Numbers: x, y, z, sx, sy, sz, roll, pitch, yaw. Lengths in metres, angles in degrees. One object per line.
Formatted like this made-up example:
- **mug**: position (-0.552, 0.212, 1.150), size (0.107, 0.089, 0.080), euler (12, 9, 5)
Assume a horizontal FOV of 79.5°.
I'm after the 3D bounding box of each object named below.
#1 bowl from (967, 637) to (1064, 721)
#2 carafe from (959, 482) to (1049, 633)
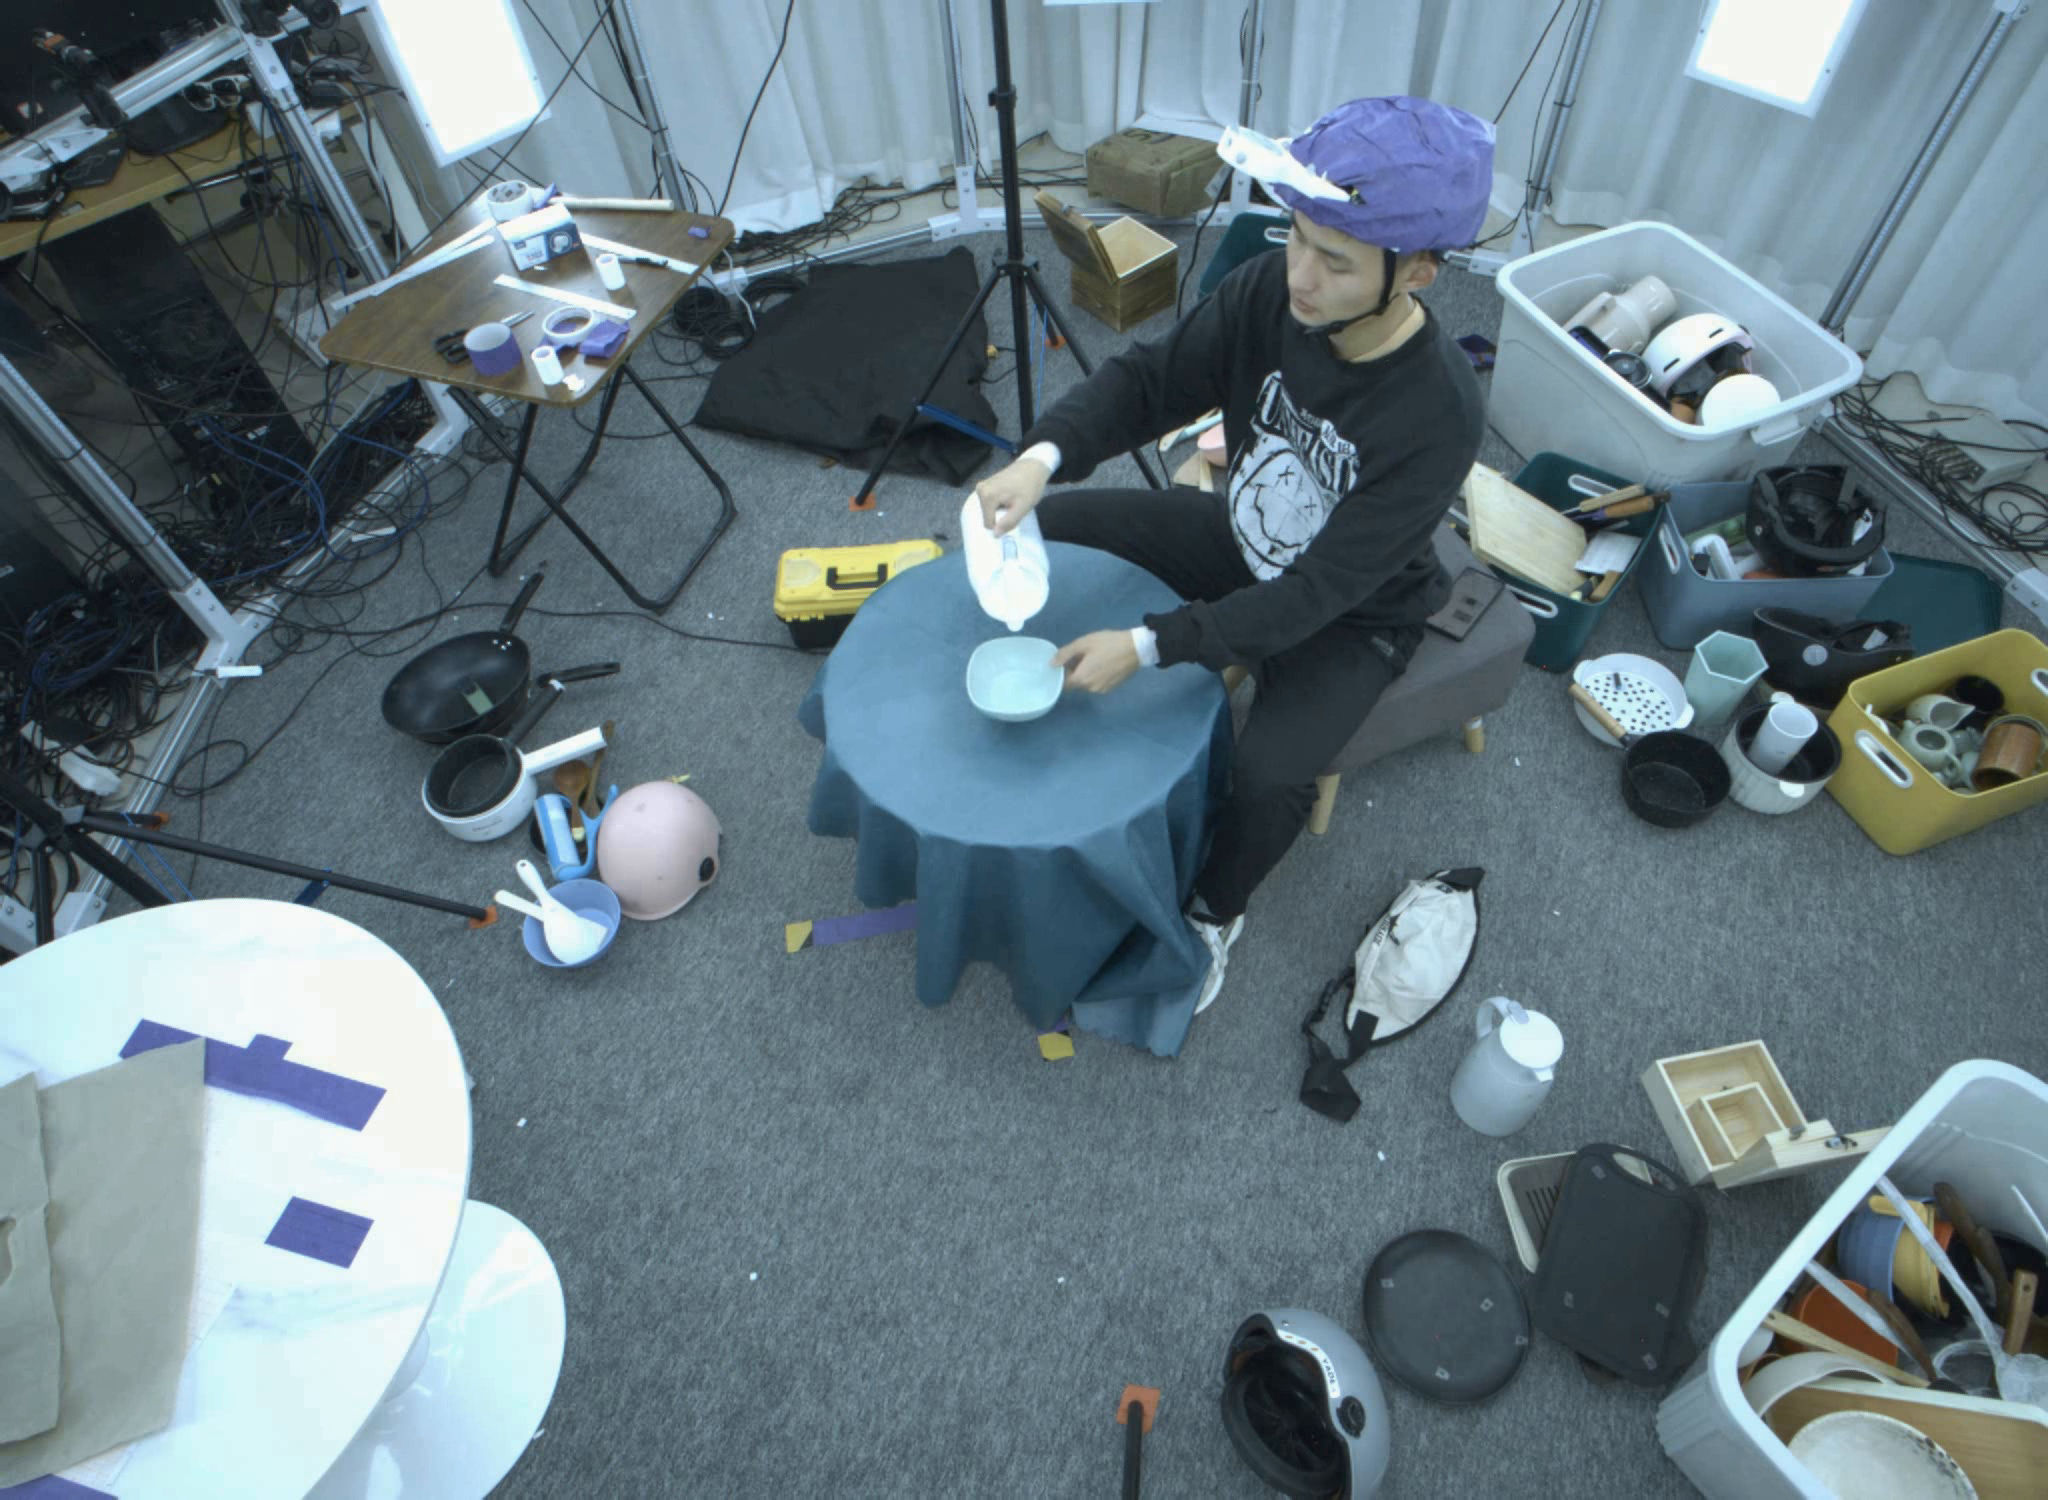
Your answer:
- **bowl**: position (-0.010, -0.092, 1.774), size (0.151, 0.059, 0.150), euler (0, 56, 2)
- **carafe**: position (-0.032, -0.306, 1.785), size (0.124, 0.175, 0.265), euler (-7, 35, -1)
